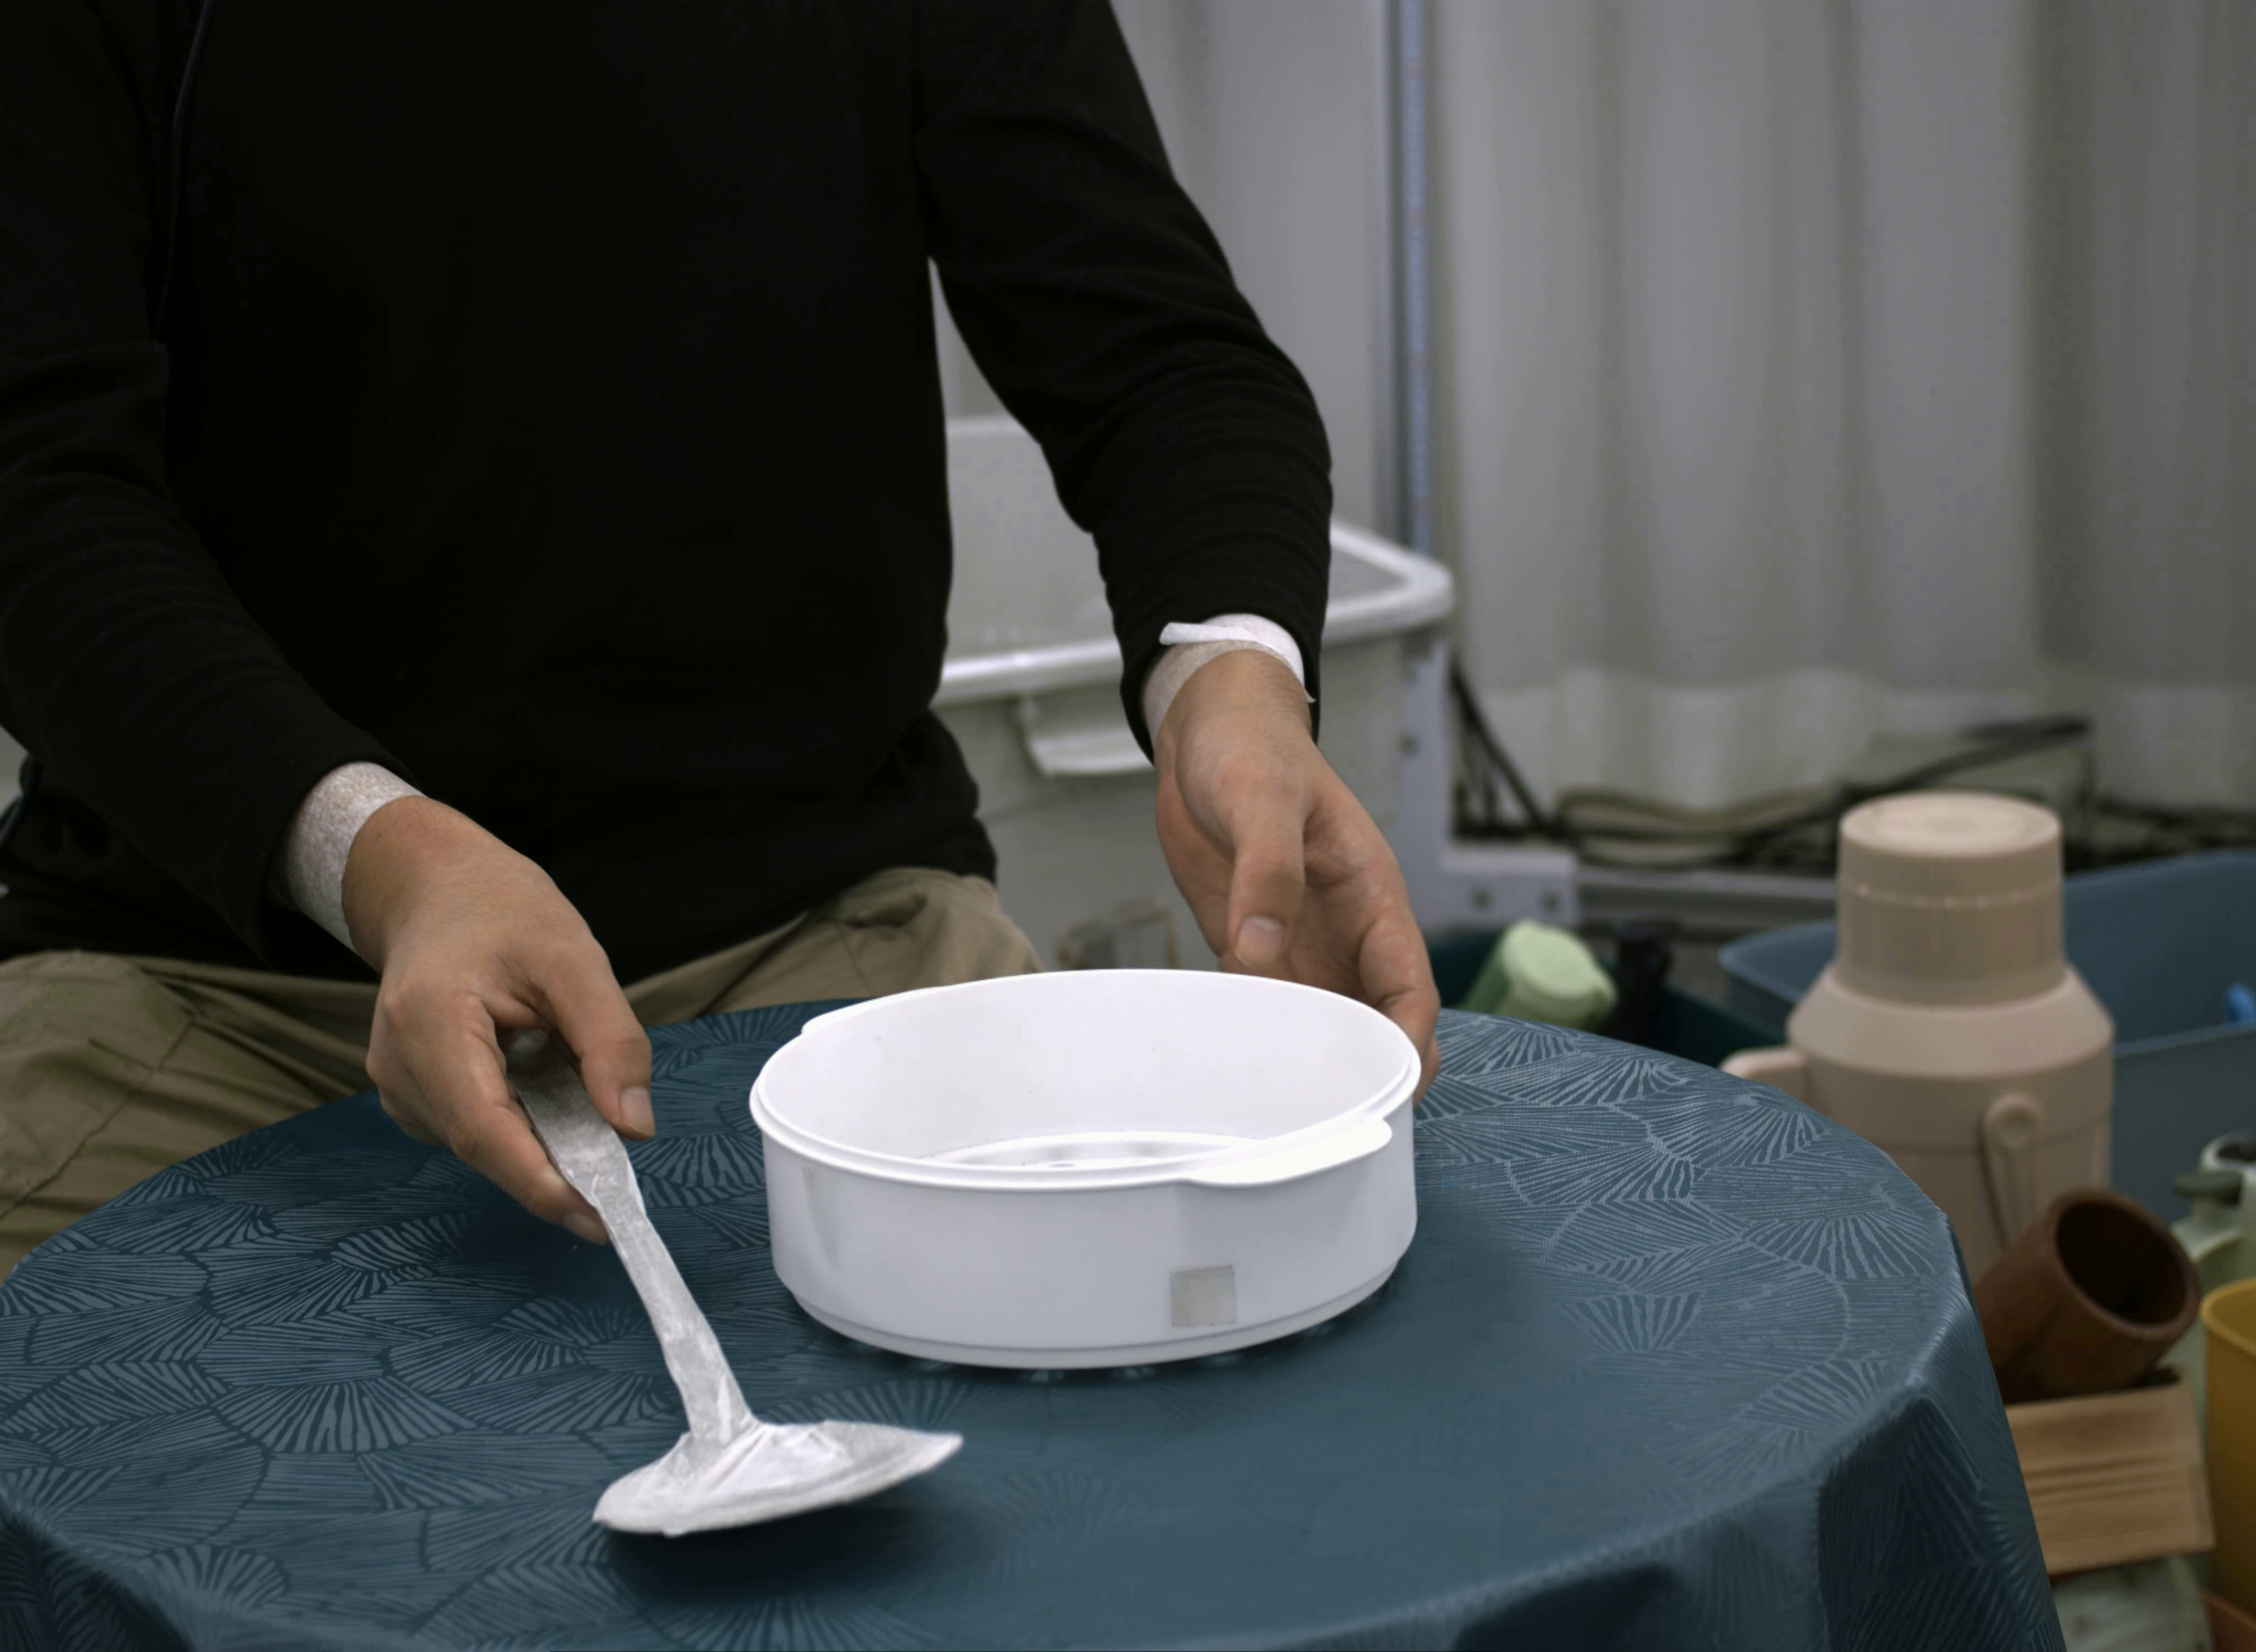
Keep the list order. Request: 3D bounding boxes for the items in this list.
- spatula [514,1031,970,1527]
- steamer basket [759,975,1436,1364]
[{"bbox_3d":[-0.135,0.120,1.573,0.098,0.044,0.369,-15,27,-13],"label":"spatula"},{"bbox_3d":[-0.008,0.102,1.628,0.201,0.069,0.232,-12,17,-35],"label":"steamer basket"}]
